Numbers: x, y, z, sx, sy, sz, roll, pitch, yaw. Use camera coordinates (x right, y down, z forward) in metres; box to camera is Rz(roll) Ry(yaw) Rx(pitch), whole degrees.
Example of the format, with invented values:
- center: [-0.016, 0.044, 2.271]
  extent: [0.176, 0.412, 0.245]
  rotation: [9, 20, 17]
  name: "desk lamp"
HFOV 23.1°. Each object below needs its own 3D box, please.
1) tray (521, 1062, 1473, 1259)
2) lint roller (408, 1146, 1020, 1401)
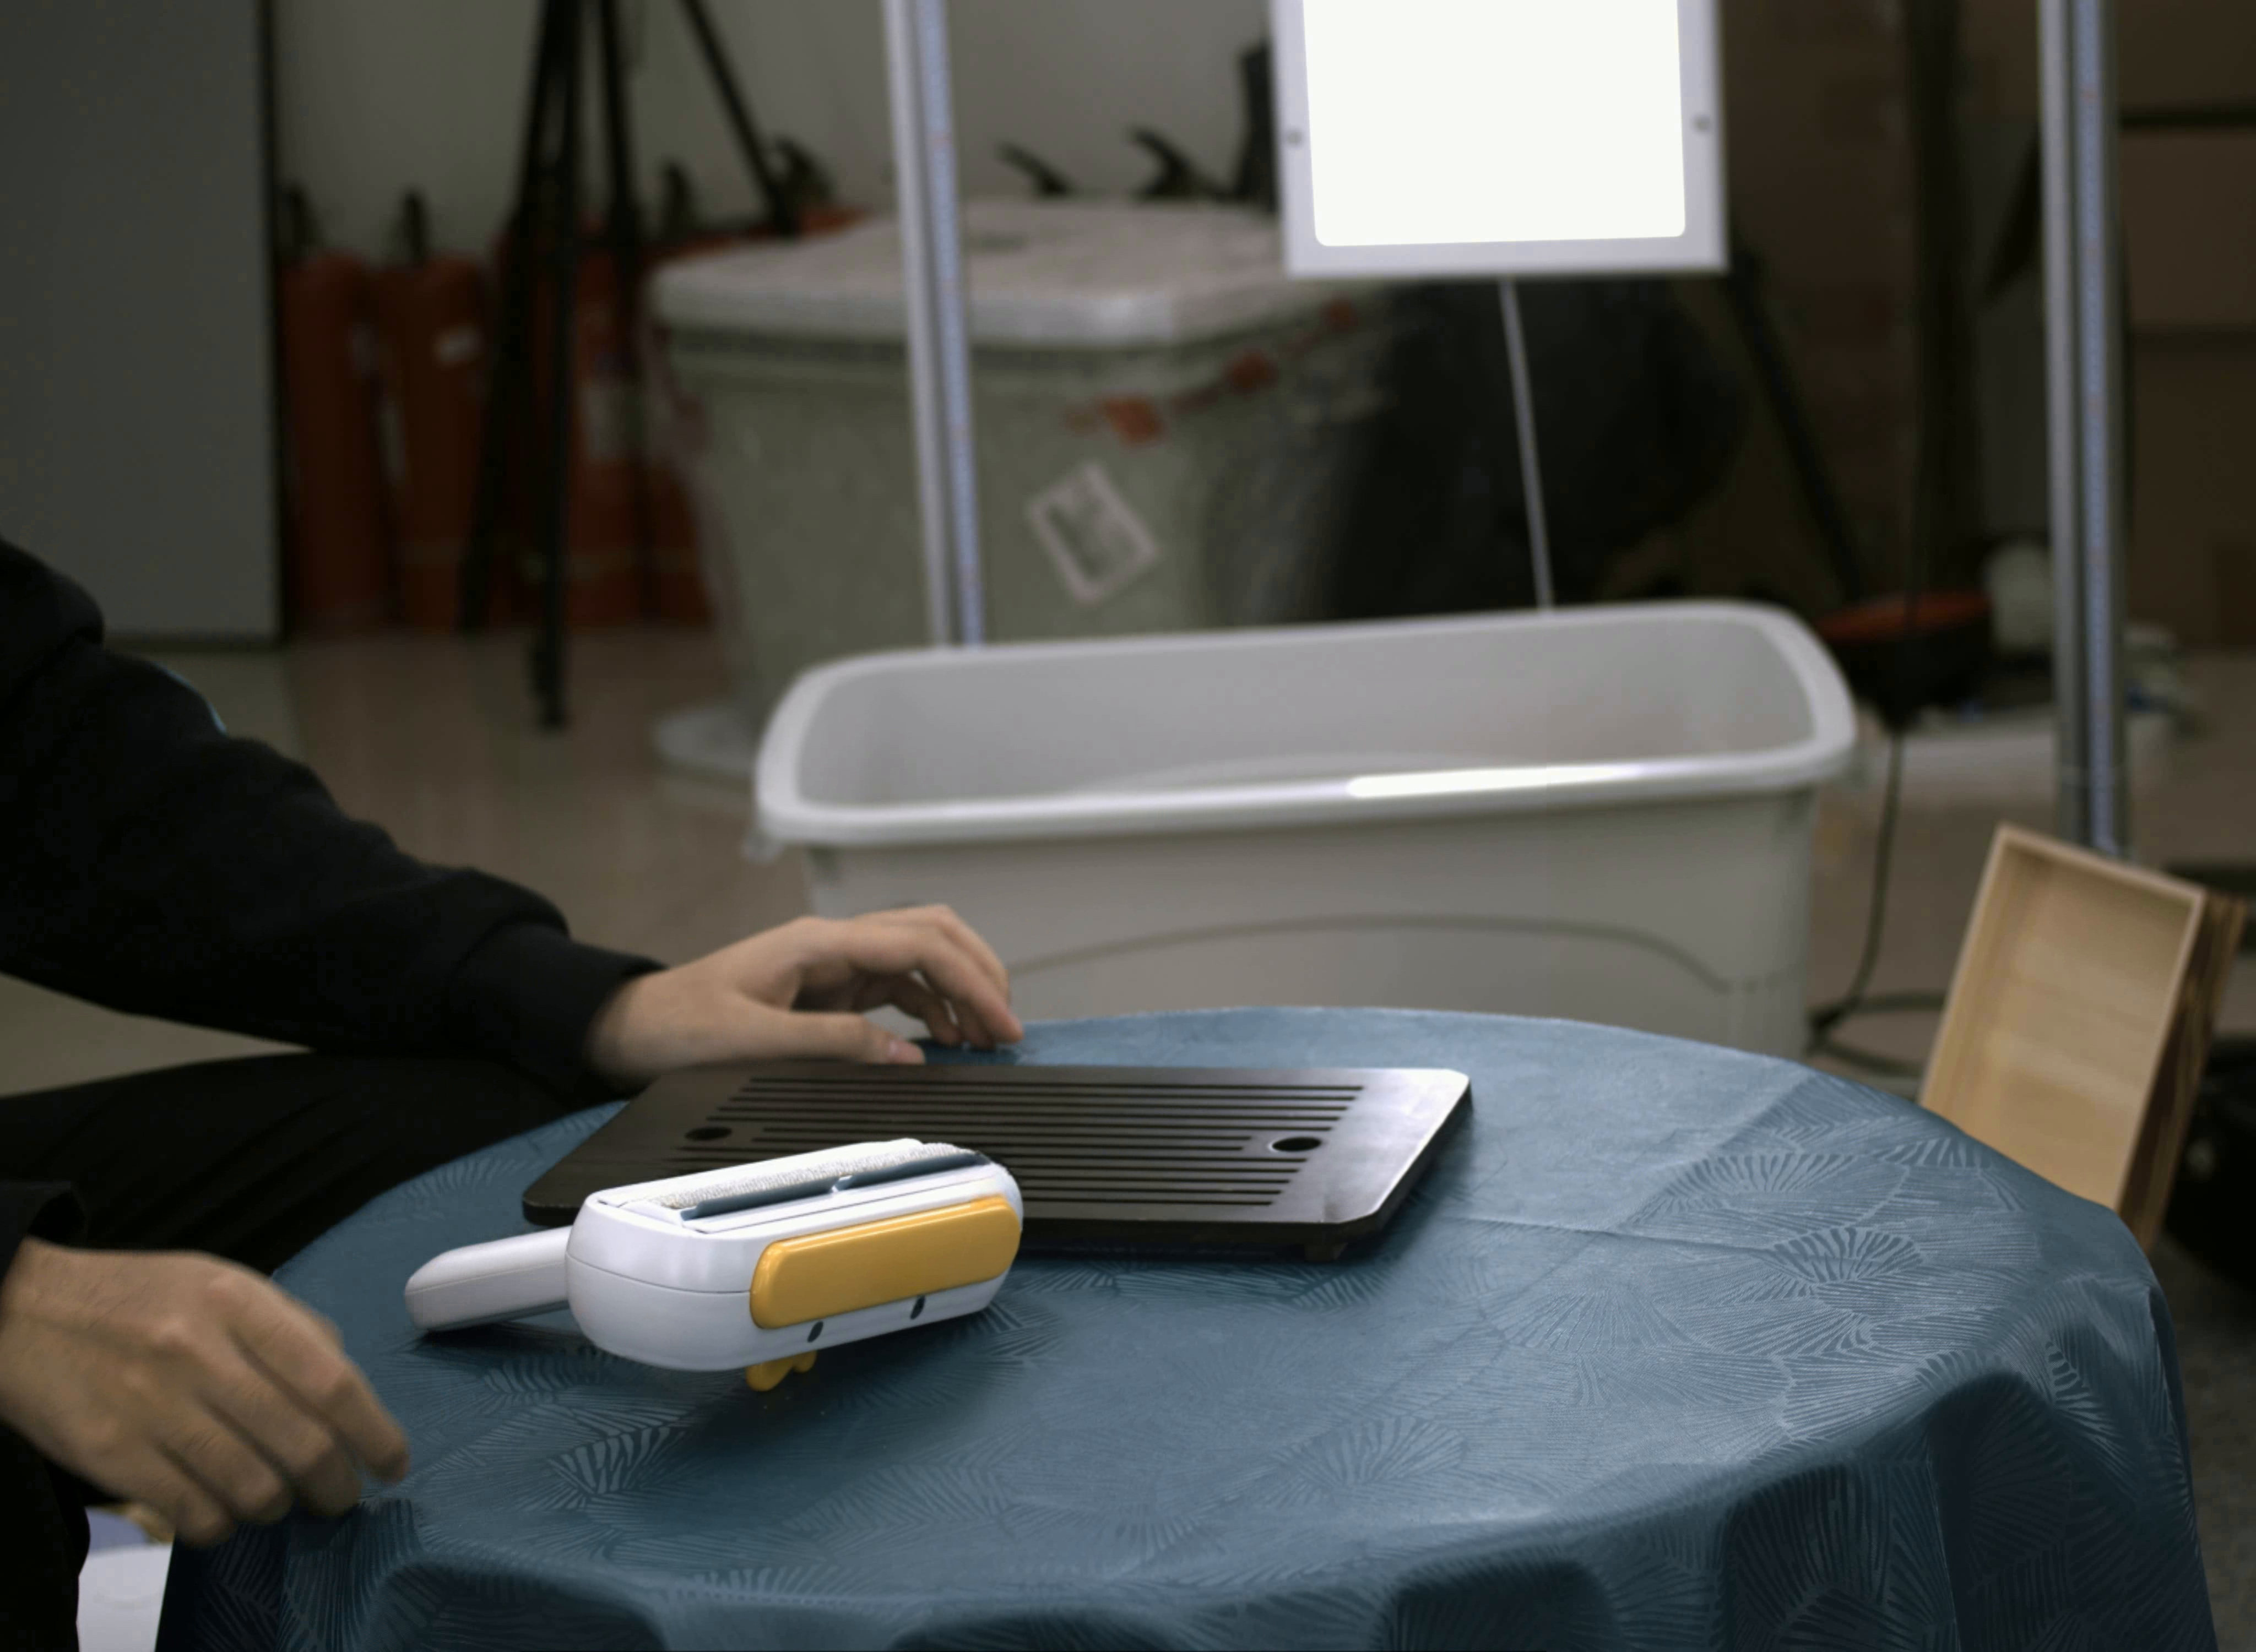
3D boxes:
- center: [-0.043, 0.115, 1.919]
  extent: [0.309, 0.019, 0.167]
  rotation: [-1, 15, 19]
  name: "tray"
- center: [-0.154, 0.139, 1.761]
  extent: [0.196, 0.074, 0.188]
  rotation: [3, 9, 37]
  name: "lint roller"
